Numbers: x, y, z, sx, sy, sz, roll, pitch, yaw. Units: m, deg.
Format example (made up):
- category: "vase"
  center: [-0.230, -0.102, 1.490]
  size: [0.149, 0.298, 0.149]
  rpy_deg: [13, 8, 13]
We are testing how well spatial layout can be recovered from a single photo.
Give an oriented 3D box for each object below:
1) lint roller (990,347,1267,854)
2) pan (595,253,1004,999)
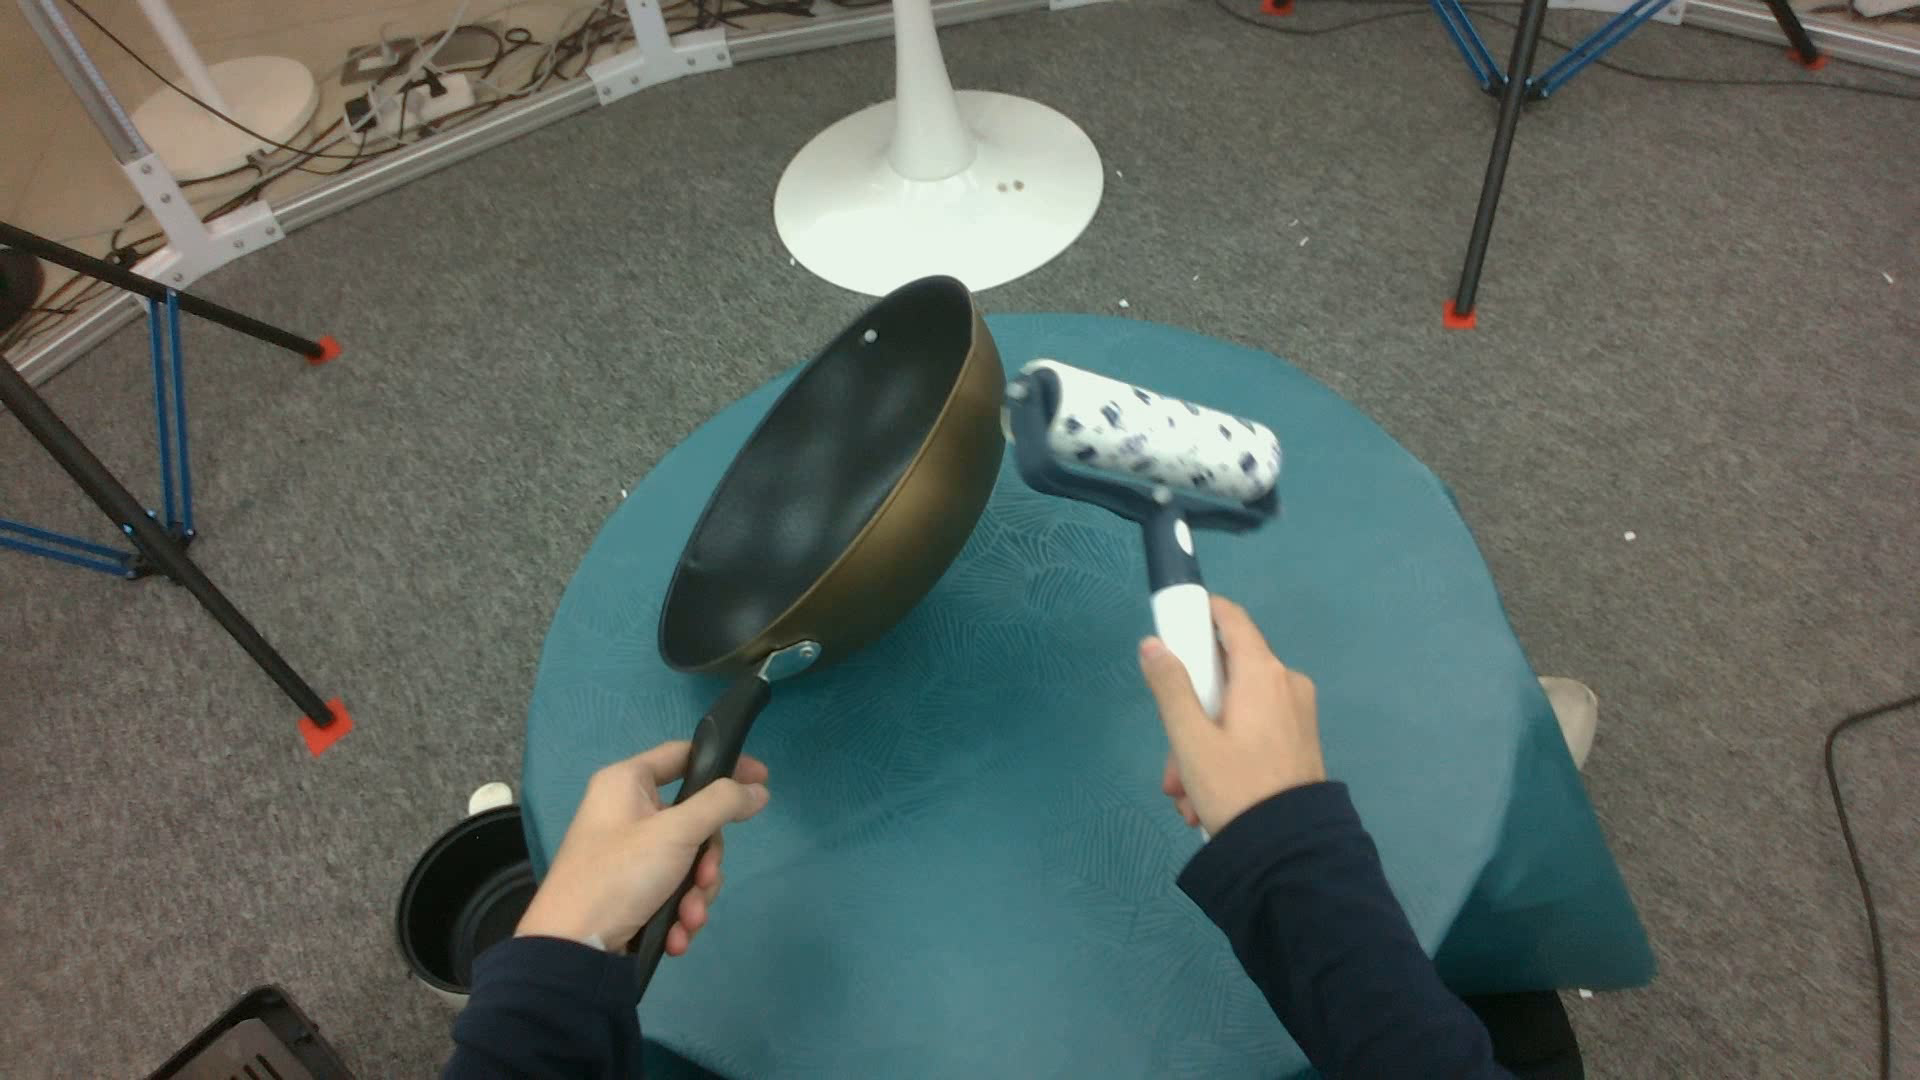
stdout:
- category: "lint roller"
  center: [0.108, 0.028, 0.678]
  size: [0.176, 0.050, 0.248]
  rpy_deg: [8, 60, -39]
- category: "pan"
  center: [-0.082, 0.036, 0.753]
  size: [0.287, 0.087, 0.465]
  rpy_deg: [-30, 34, 39]
